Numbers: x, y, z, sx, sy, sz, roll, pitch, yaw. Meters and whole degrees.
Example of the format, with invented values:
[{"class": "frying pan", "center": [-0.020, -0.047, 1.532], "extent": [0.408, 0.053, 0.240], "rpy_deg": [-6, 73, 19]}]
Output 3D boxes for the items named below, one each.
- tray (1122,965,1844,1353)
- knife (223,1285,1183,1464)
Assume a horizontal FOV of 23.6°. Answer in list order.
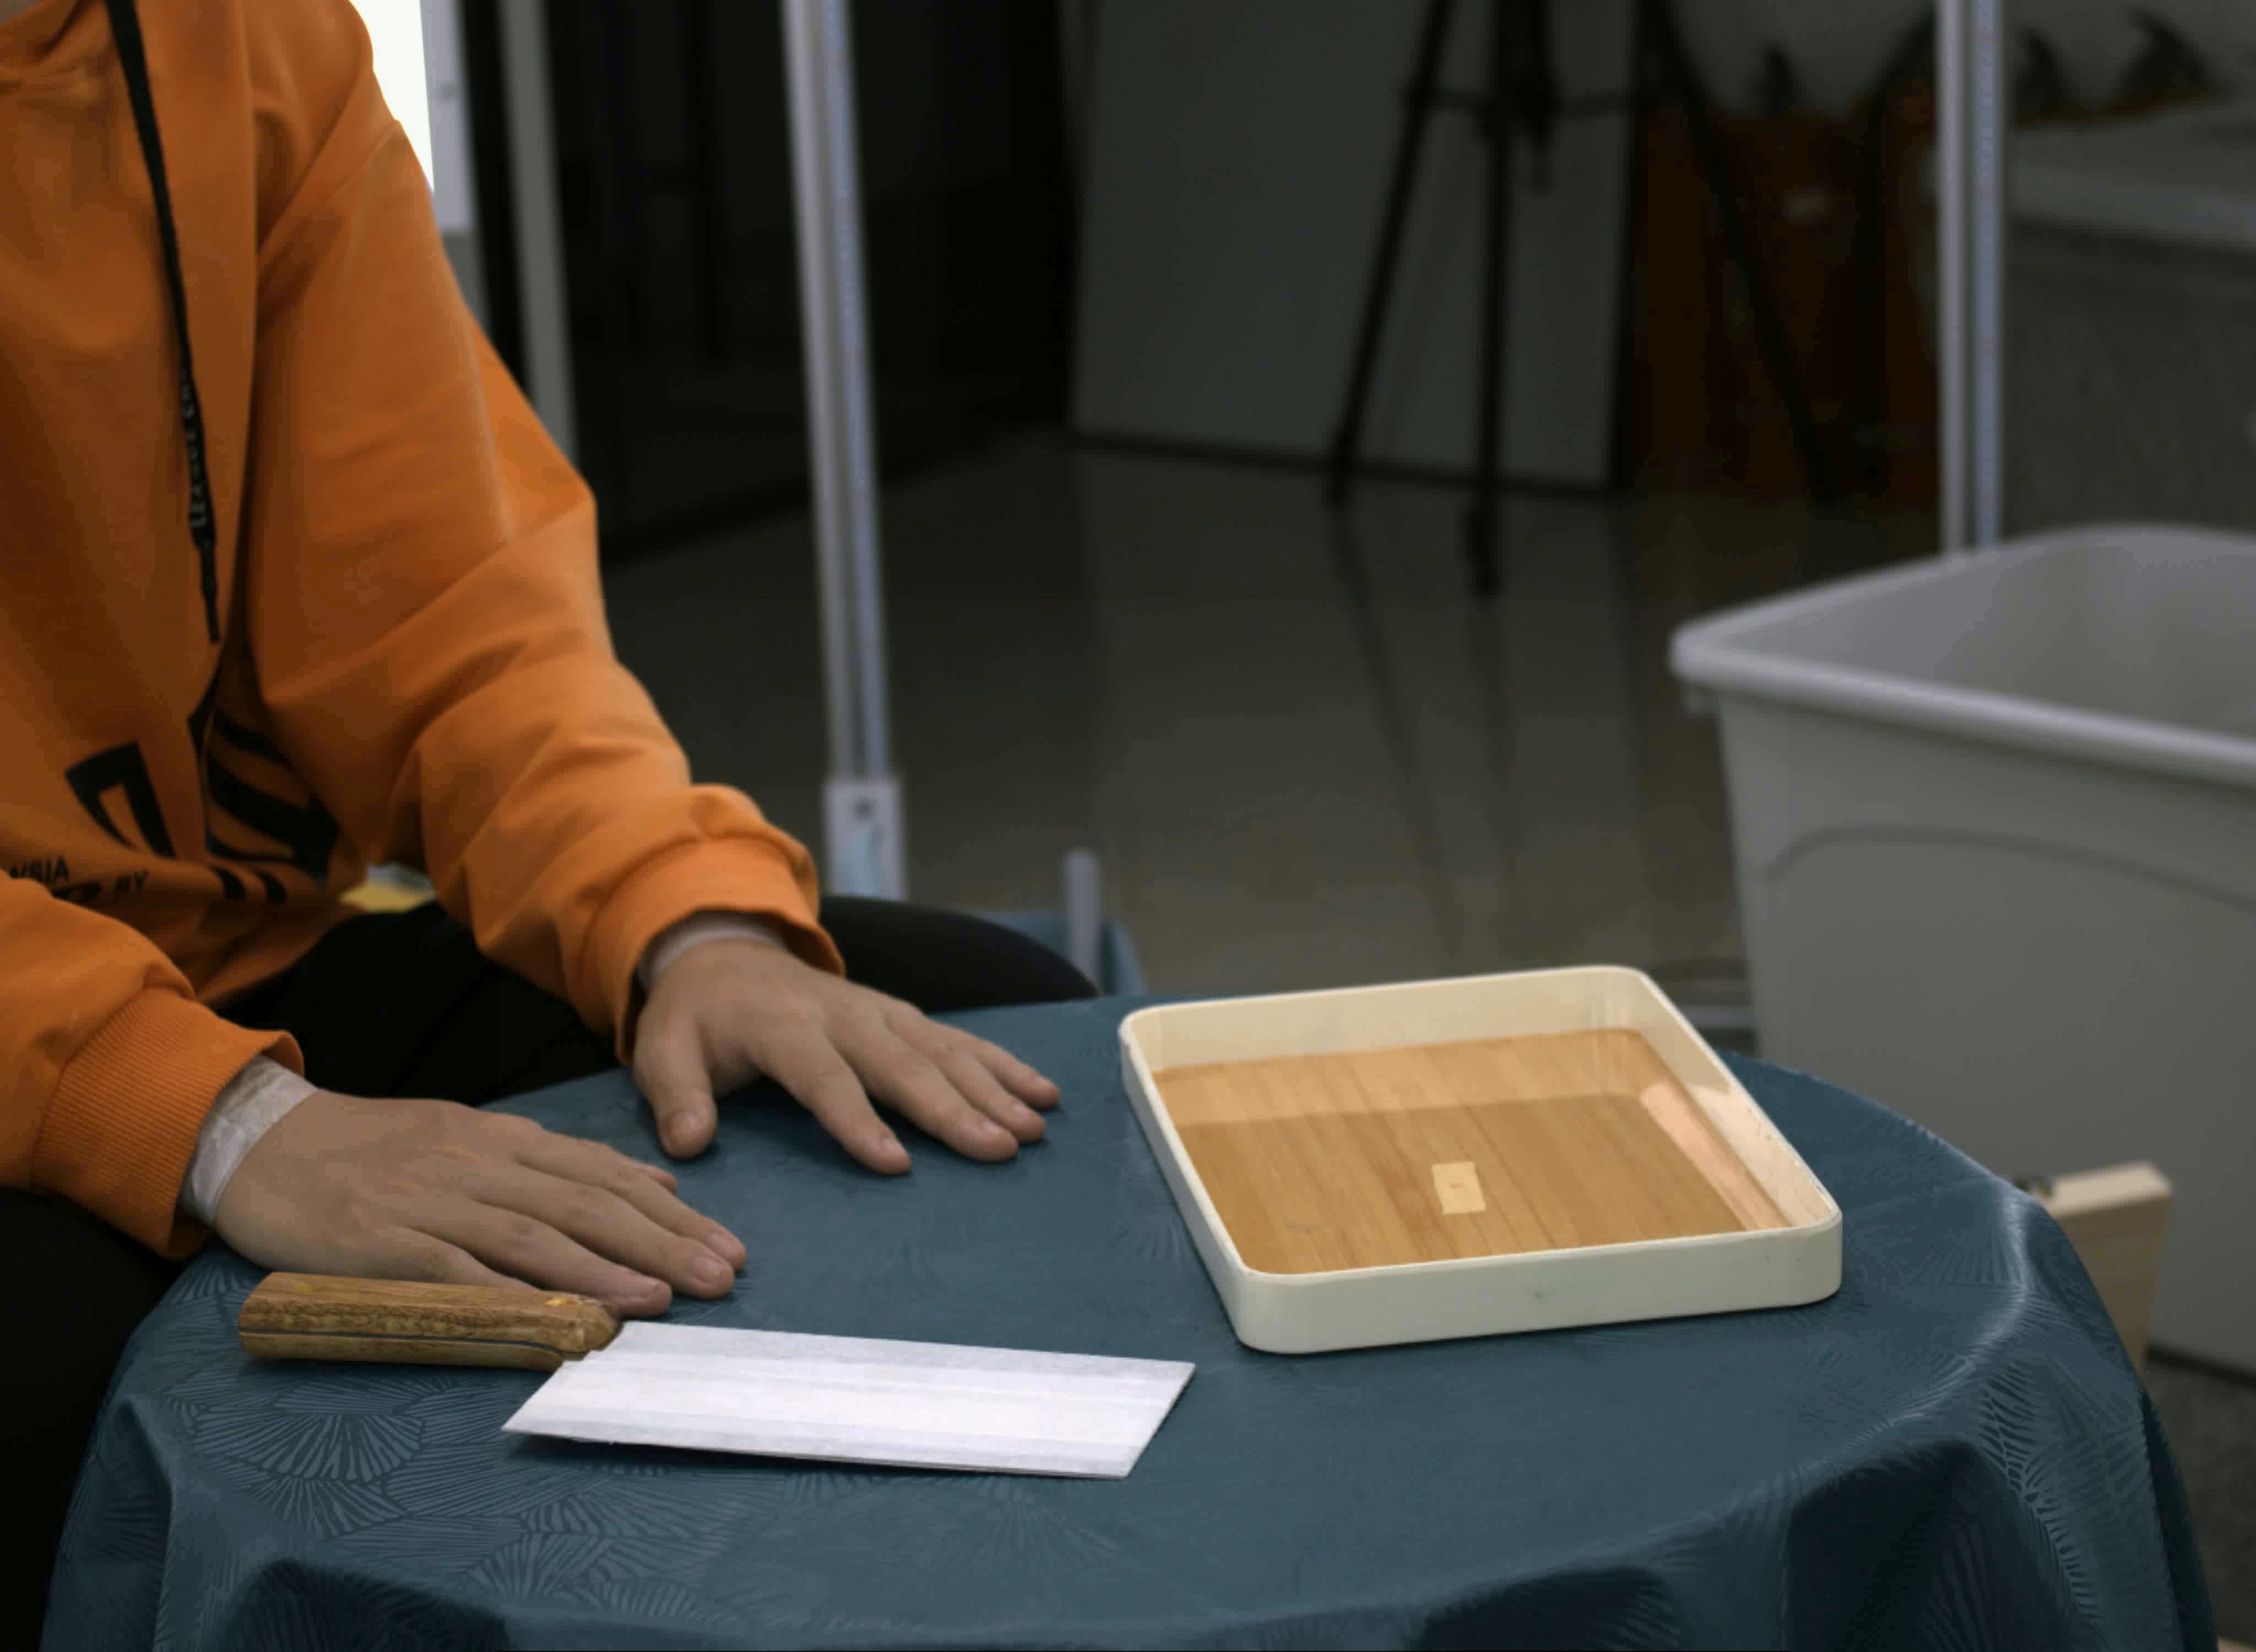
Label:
[{"class": "tray", "center": [0.108, 0.104, 1.749], "extent": [0.188, 0.028, 0.301], "rpy_deg": [-6, 14, -5]}, {"class": "knife", "center": [-0.135, 0.165, 1.600], "extent": [0.304, 0.021, 0.092], "rpy_deg": [2, 16, 16]}]
